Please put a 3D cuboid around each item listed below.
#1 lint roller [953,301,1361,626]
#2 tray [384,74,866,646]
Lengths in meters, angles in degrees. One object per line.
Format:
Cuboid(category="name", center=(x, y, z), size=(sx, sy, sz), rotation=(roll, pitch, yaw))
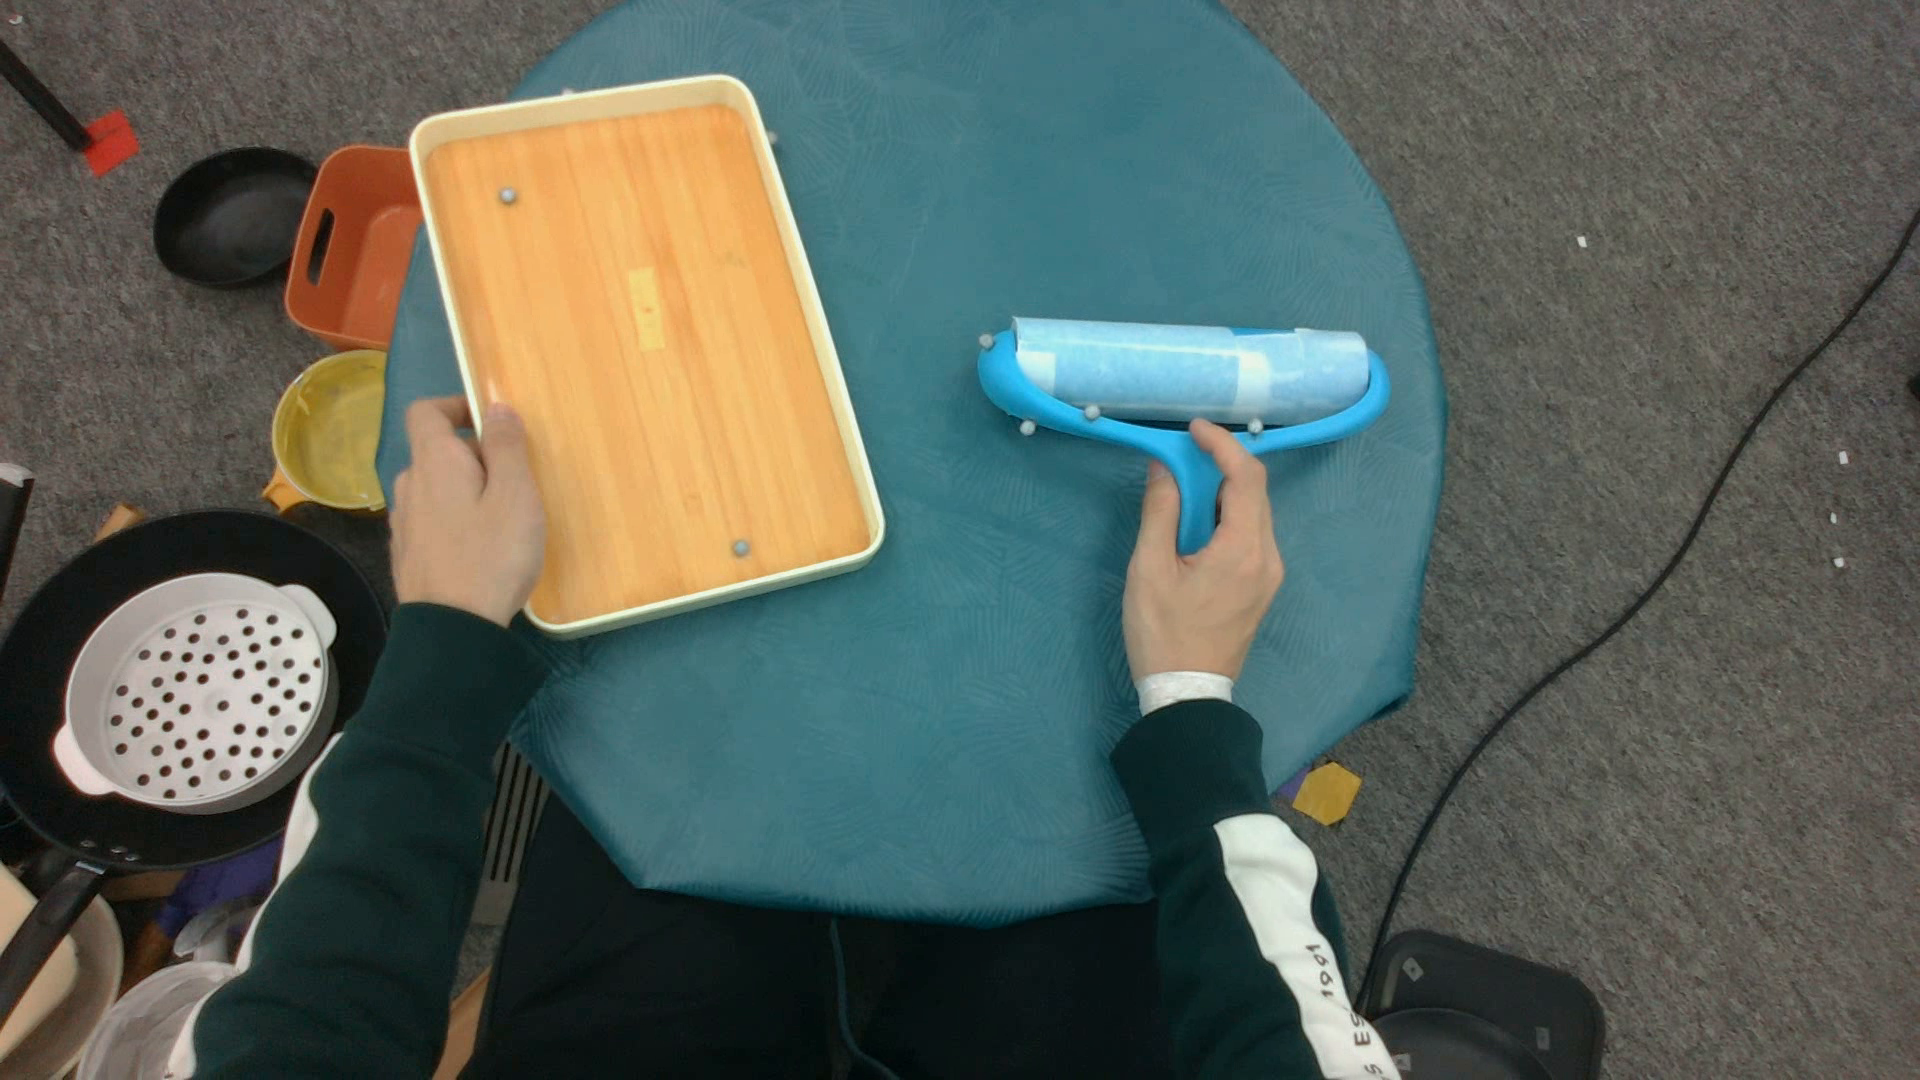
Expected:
Cuboid(category="lint roller", center=(0.116, -0.047, 0.751), size=(0.229, 0.068, 0.180), rotation=(-3, 75, -9))
Cuboid(category="tray", center=(-0.182, -0.106, 0.746), size=(0.192, 0.027, 0.300), rotation=(-15, 76, -16))
